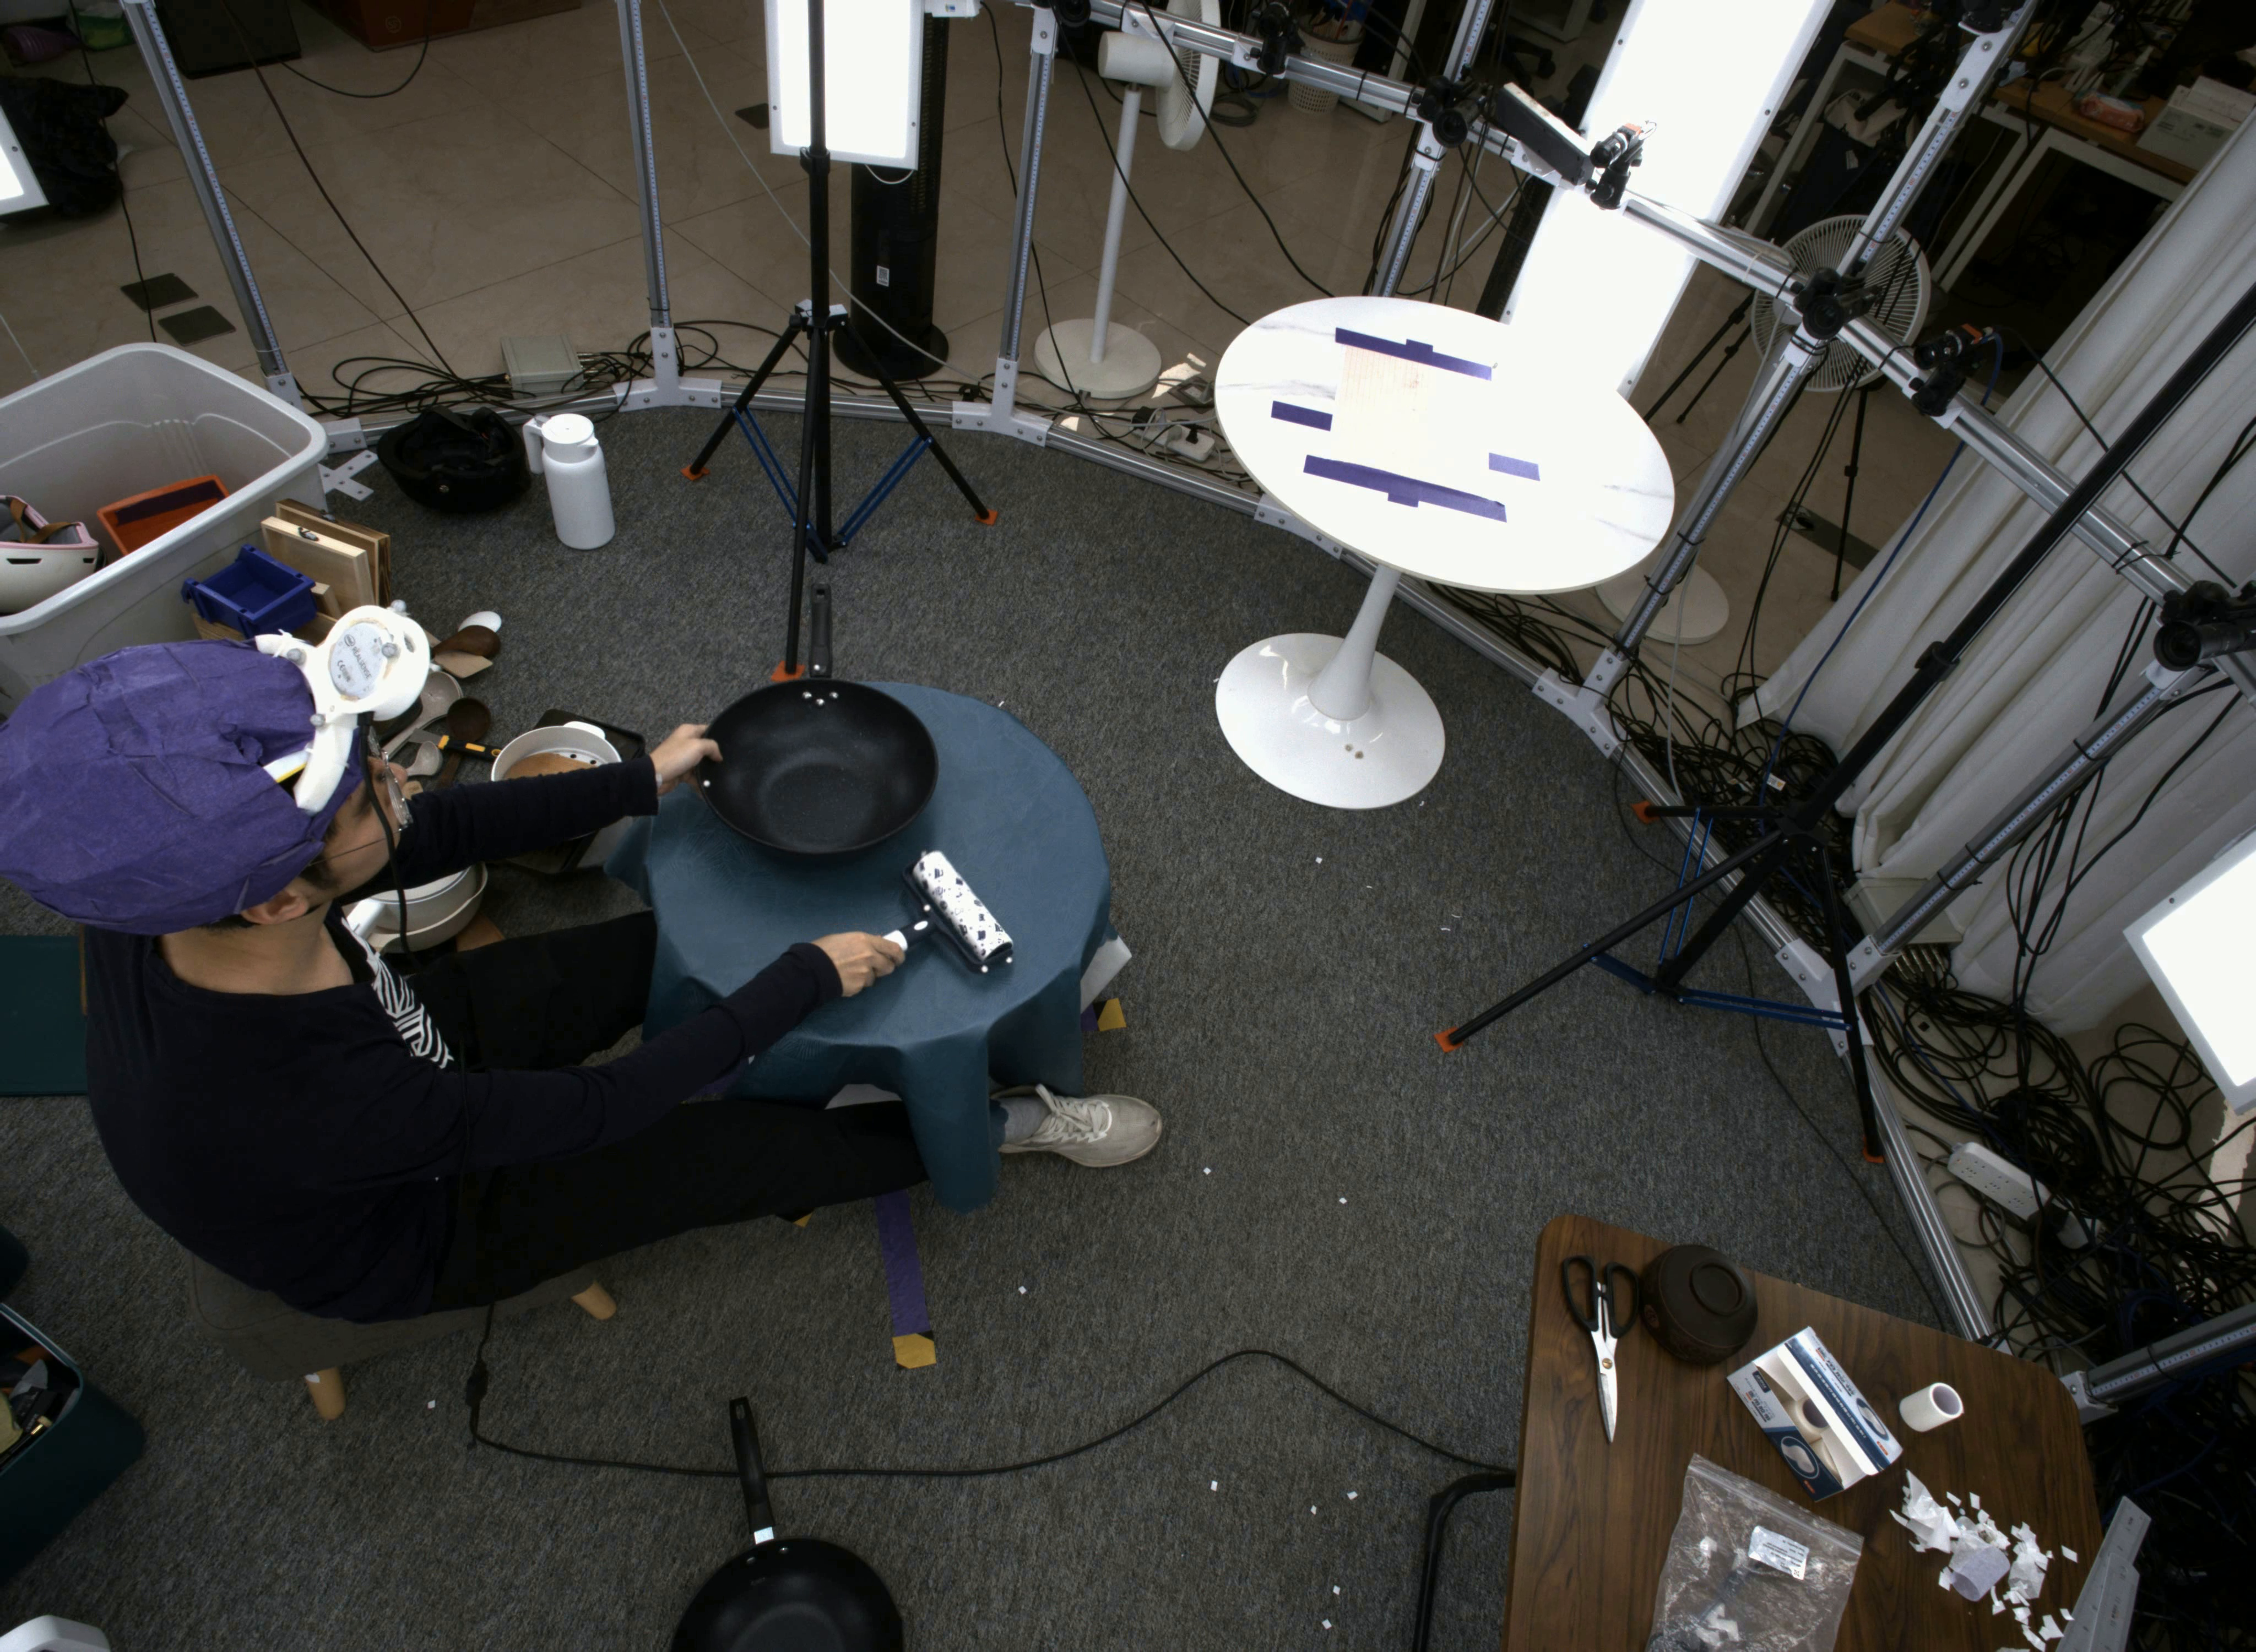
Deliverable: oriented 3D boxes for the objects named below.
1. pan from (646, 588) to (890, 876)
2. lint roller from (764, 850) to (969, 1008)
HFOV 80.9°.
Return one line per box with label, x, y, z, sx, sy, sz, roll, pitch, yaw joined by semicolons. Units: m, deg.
pan;-0.484;-0.119;1.739;0.311;0.114;0.465;-1;53;-17
lint roller;-0.338;0.147;1.601;0.248;0.051;0.173;-32;73;-34
